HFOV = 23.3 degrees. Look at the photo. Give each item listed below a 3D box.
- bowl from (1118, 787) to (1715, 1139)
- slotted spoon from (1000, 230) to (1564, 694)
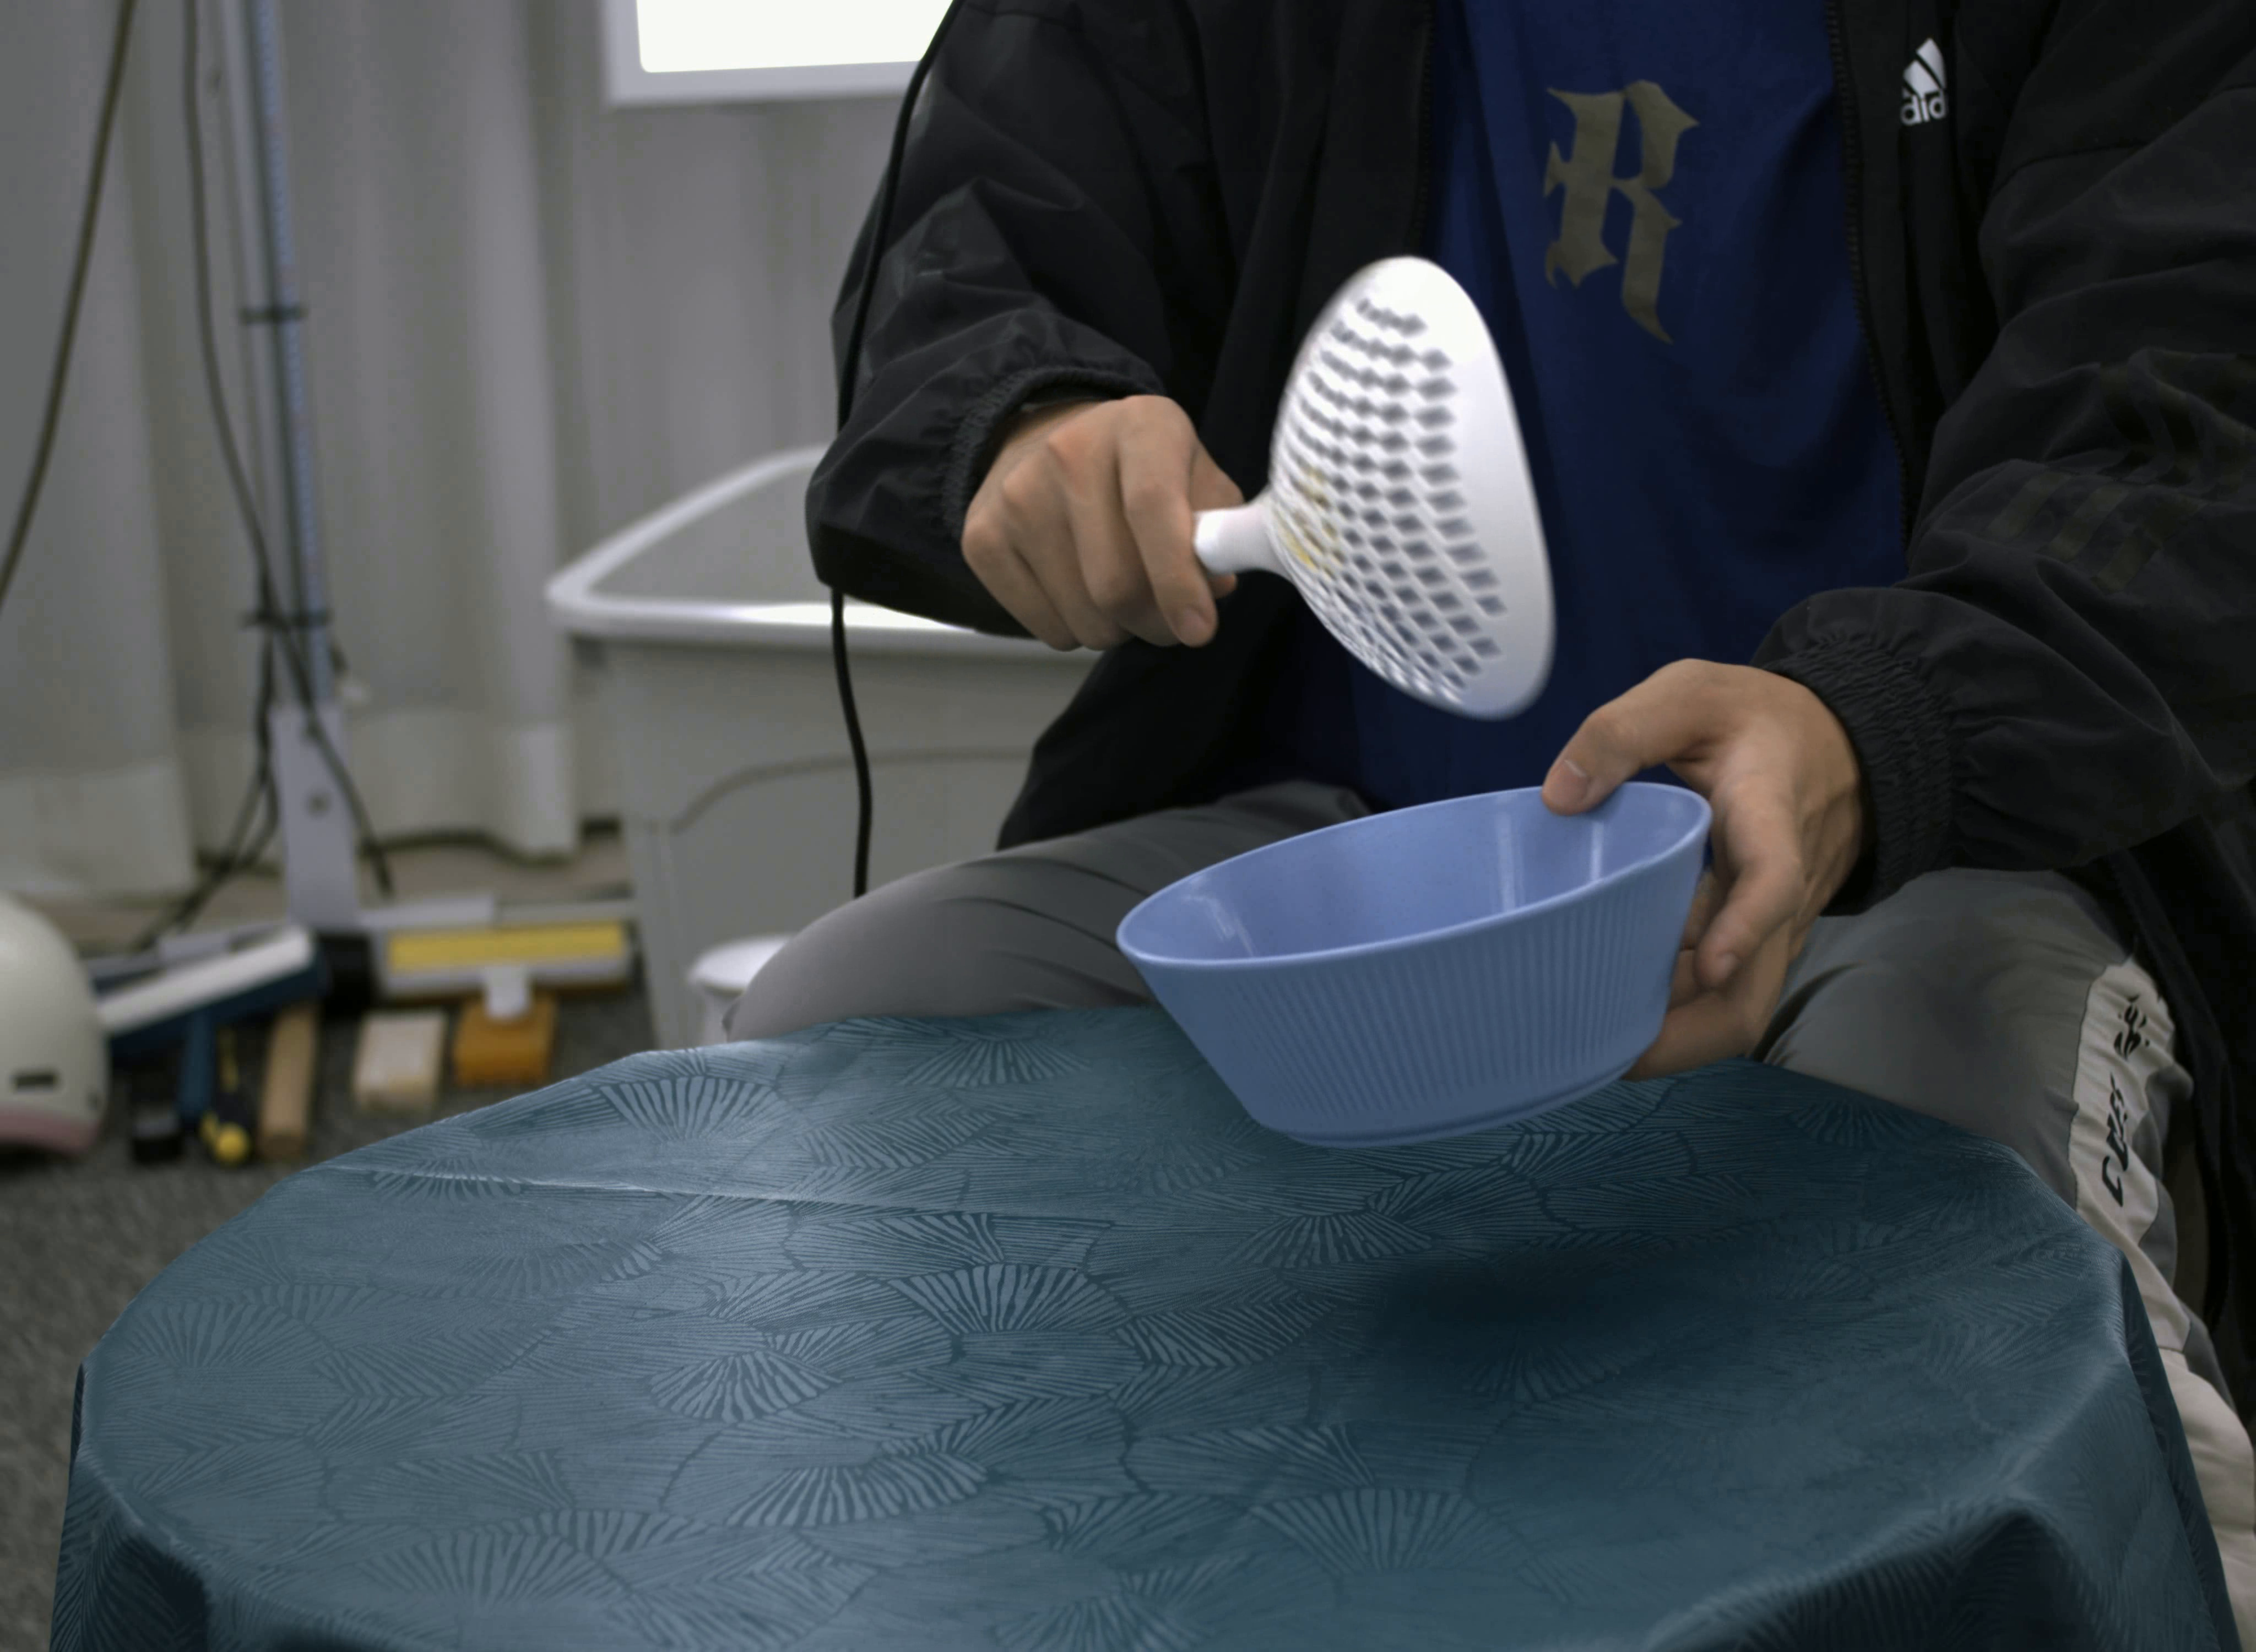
[{"bbox_3d":[0.089,0.042,1.581,0.175,0.070,0.177,-12,10,2],"label":"bowl"},{"bbox_3d":[0.036,-0.095,1.668,0.050,0.137,0.348,-17,4,-18],"label":"slotted spoon"}]
